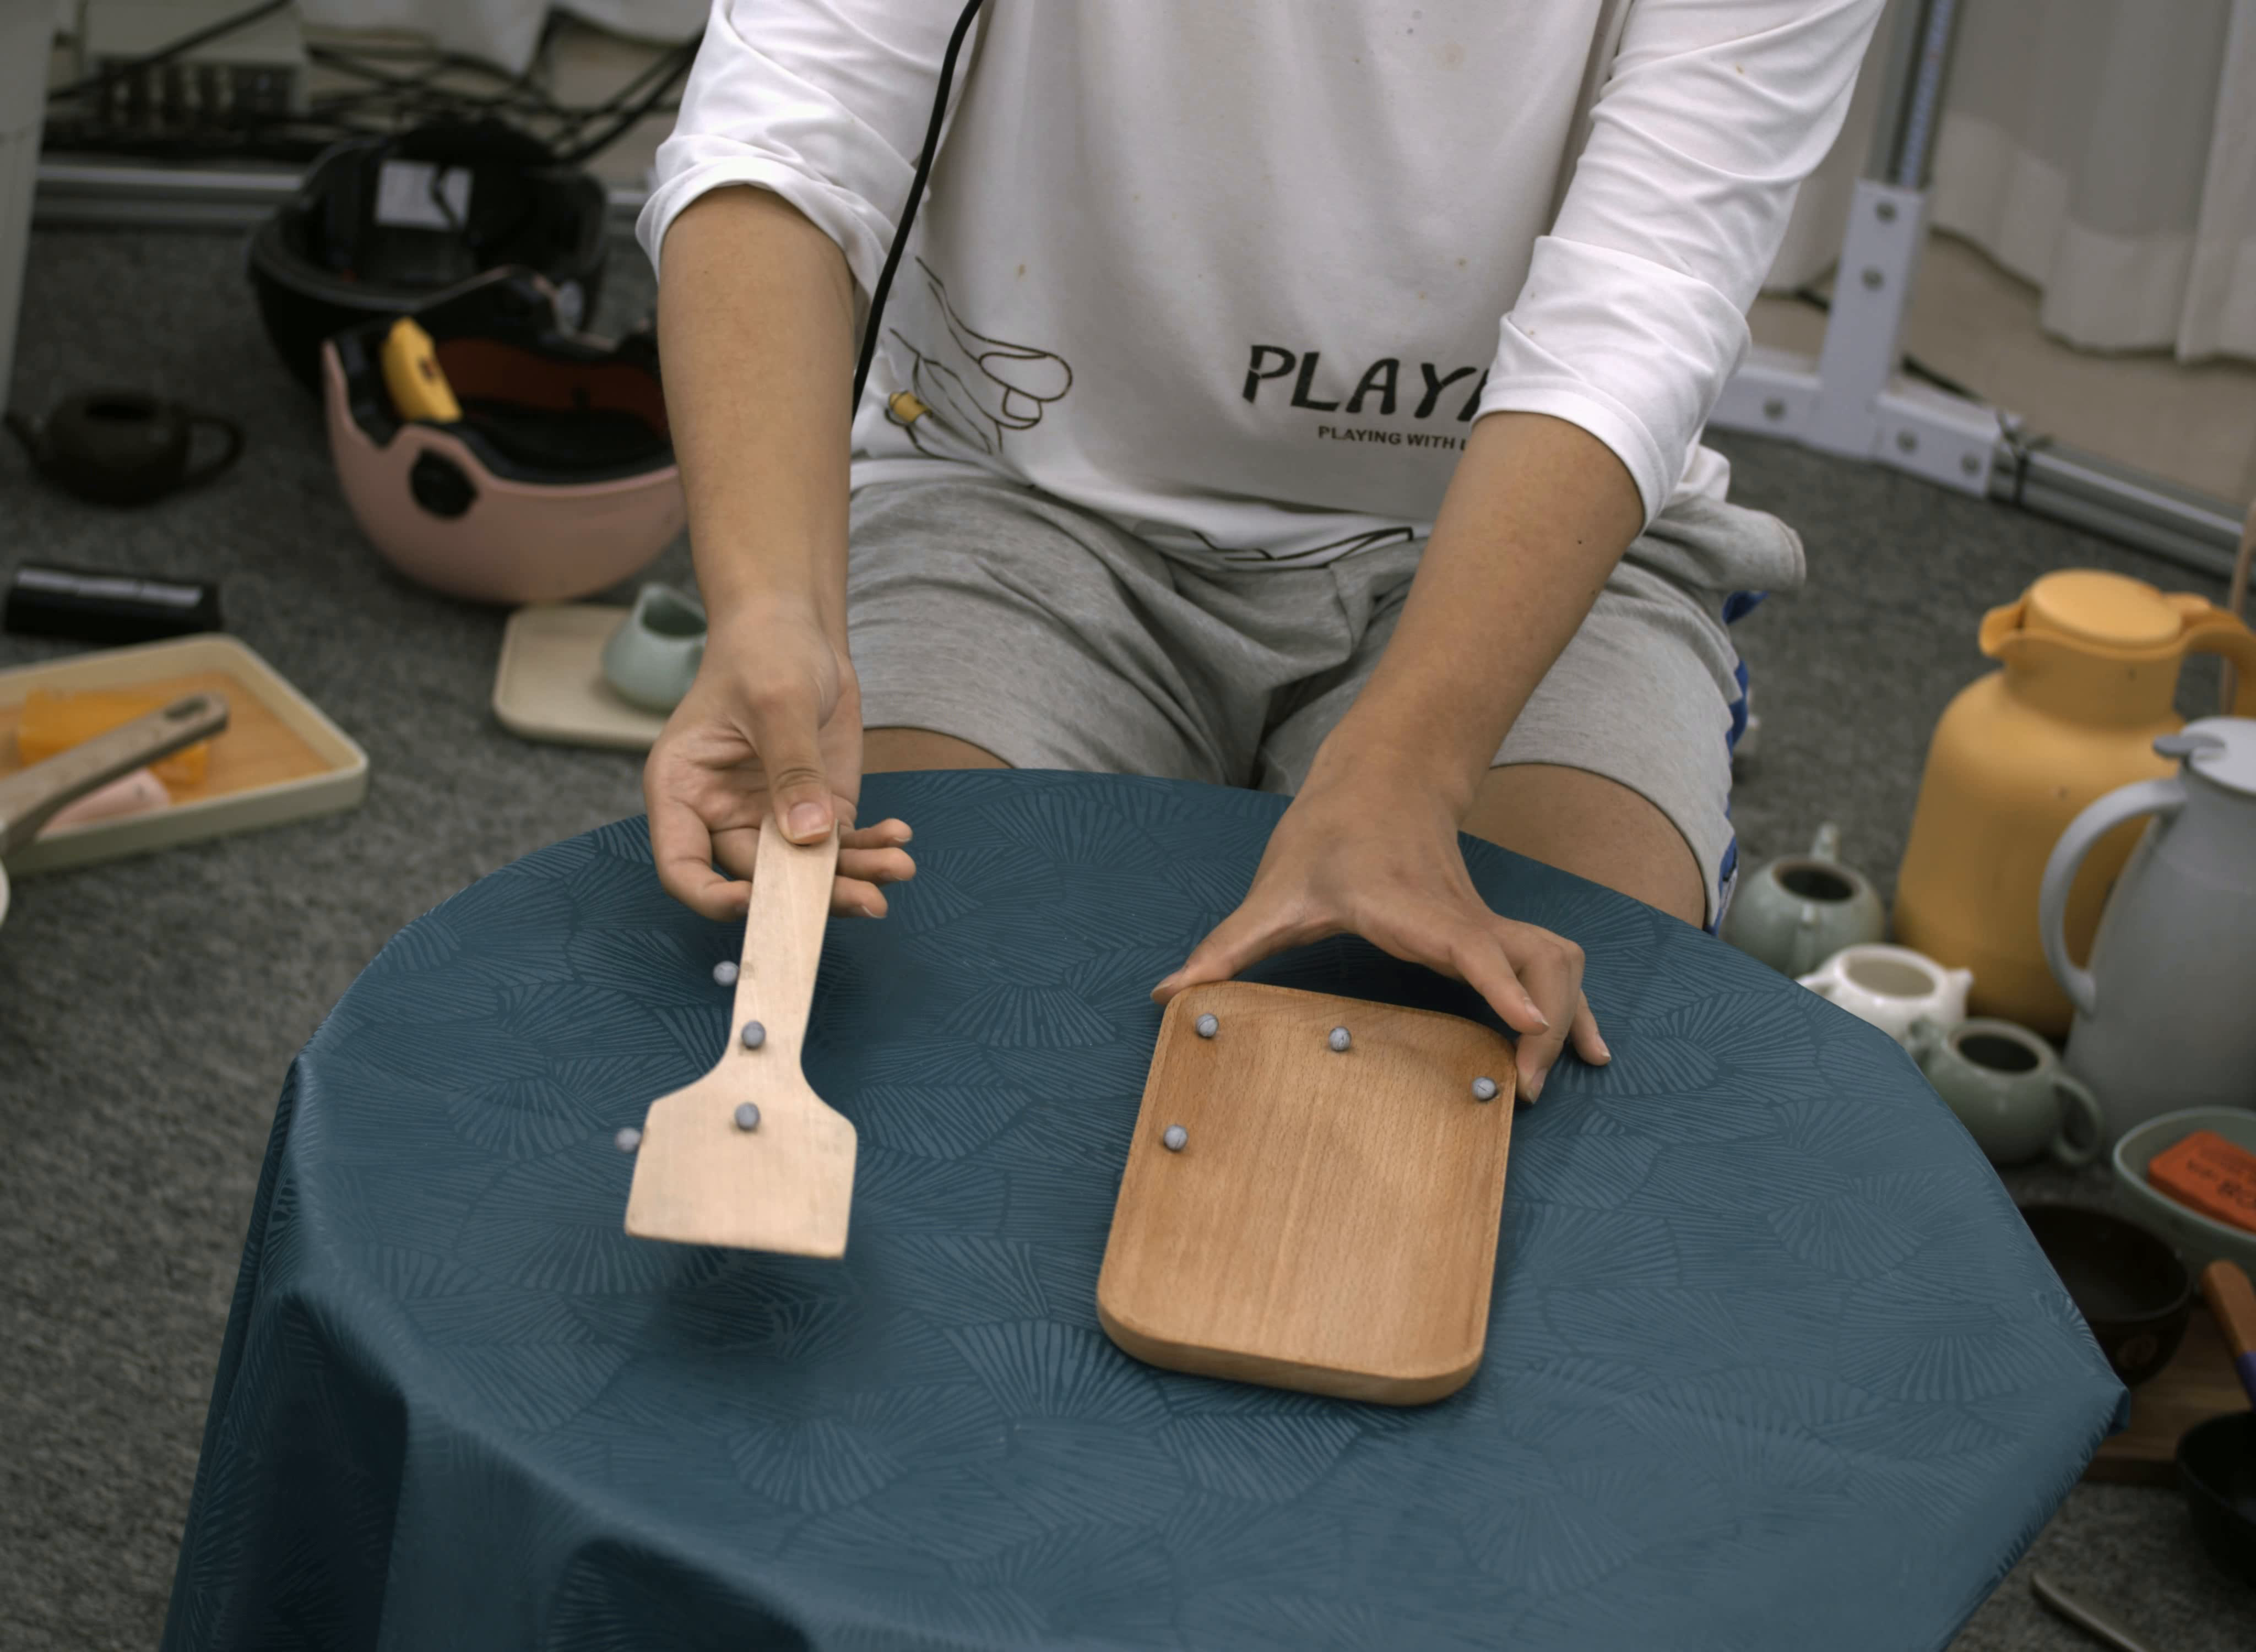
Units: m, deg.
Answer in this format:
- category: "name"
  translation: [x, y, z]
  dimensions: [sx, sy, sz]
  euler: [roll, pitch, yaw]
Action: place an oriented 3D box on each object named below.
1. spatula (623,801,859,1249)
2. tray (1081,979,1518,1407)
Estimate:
- category: "spatula"
  translation: [-0.121, 0.062, 1.788]
  dimensions: [0.072, 0.010, 0.295]
  euler: [6, 28, -1]
- category: "tray"
  translation: [0.061, 0.122, 1.807]
  dimensions: [0.130, 0.023, 0.251]
  euler: [7, 27, 6]
